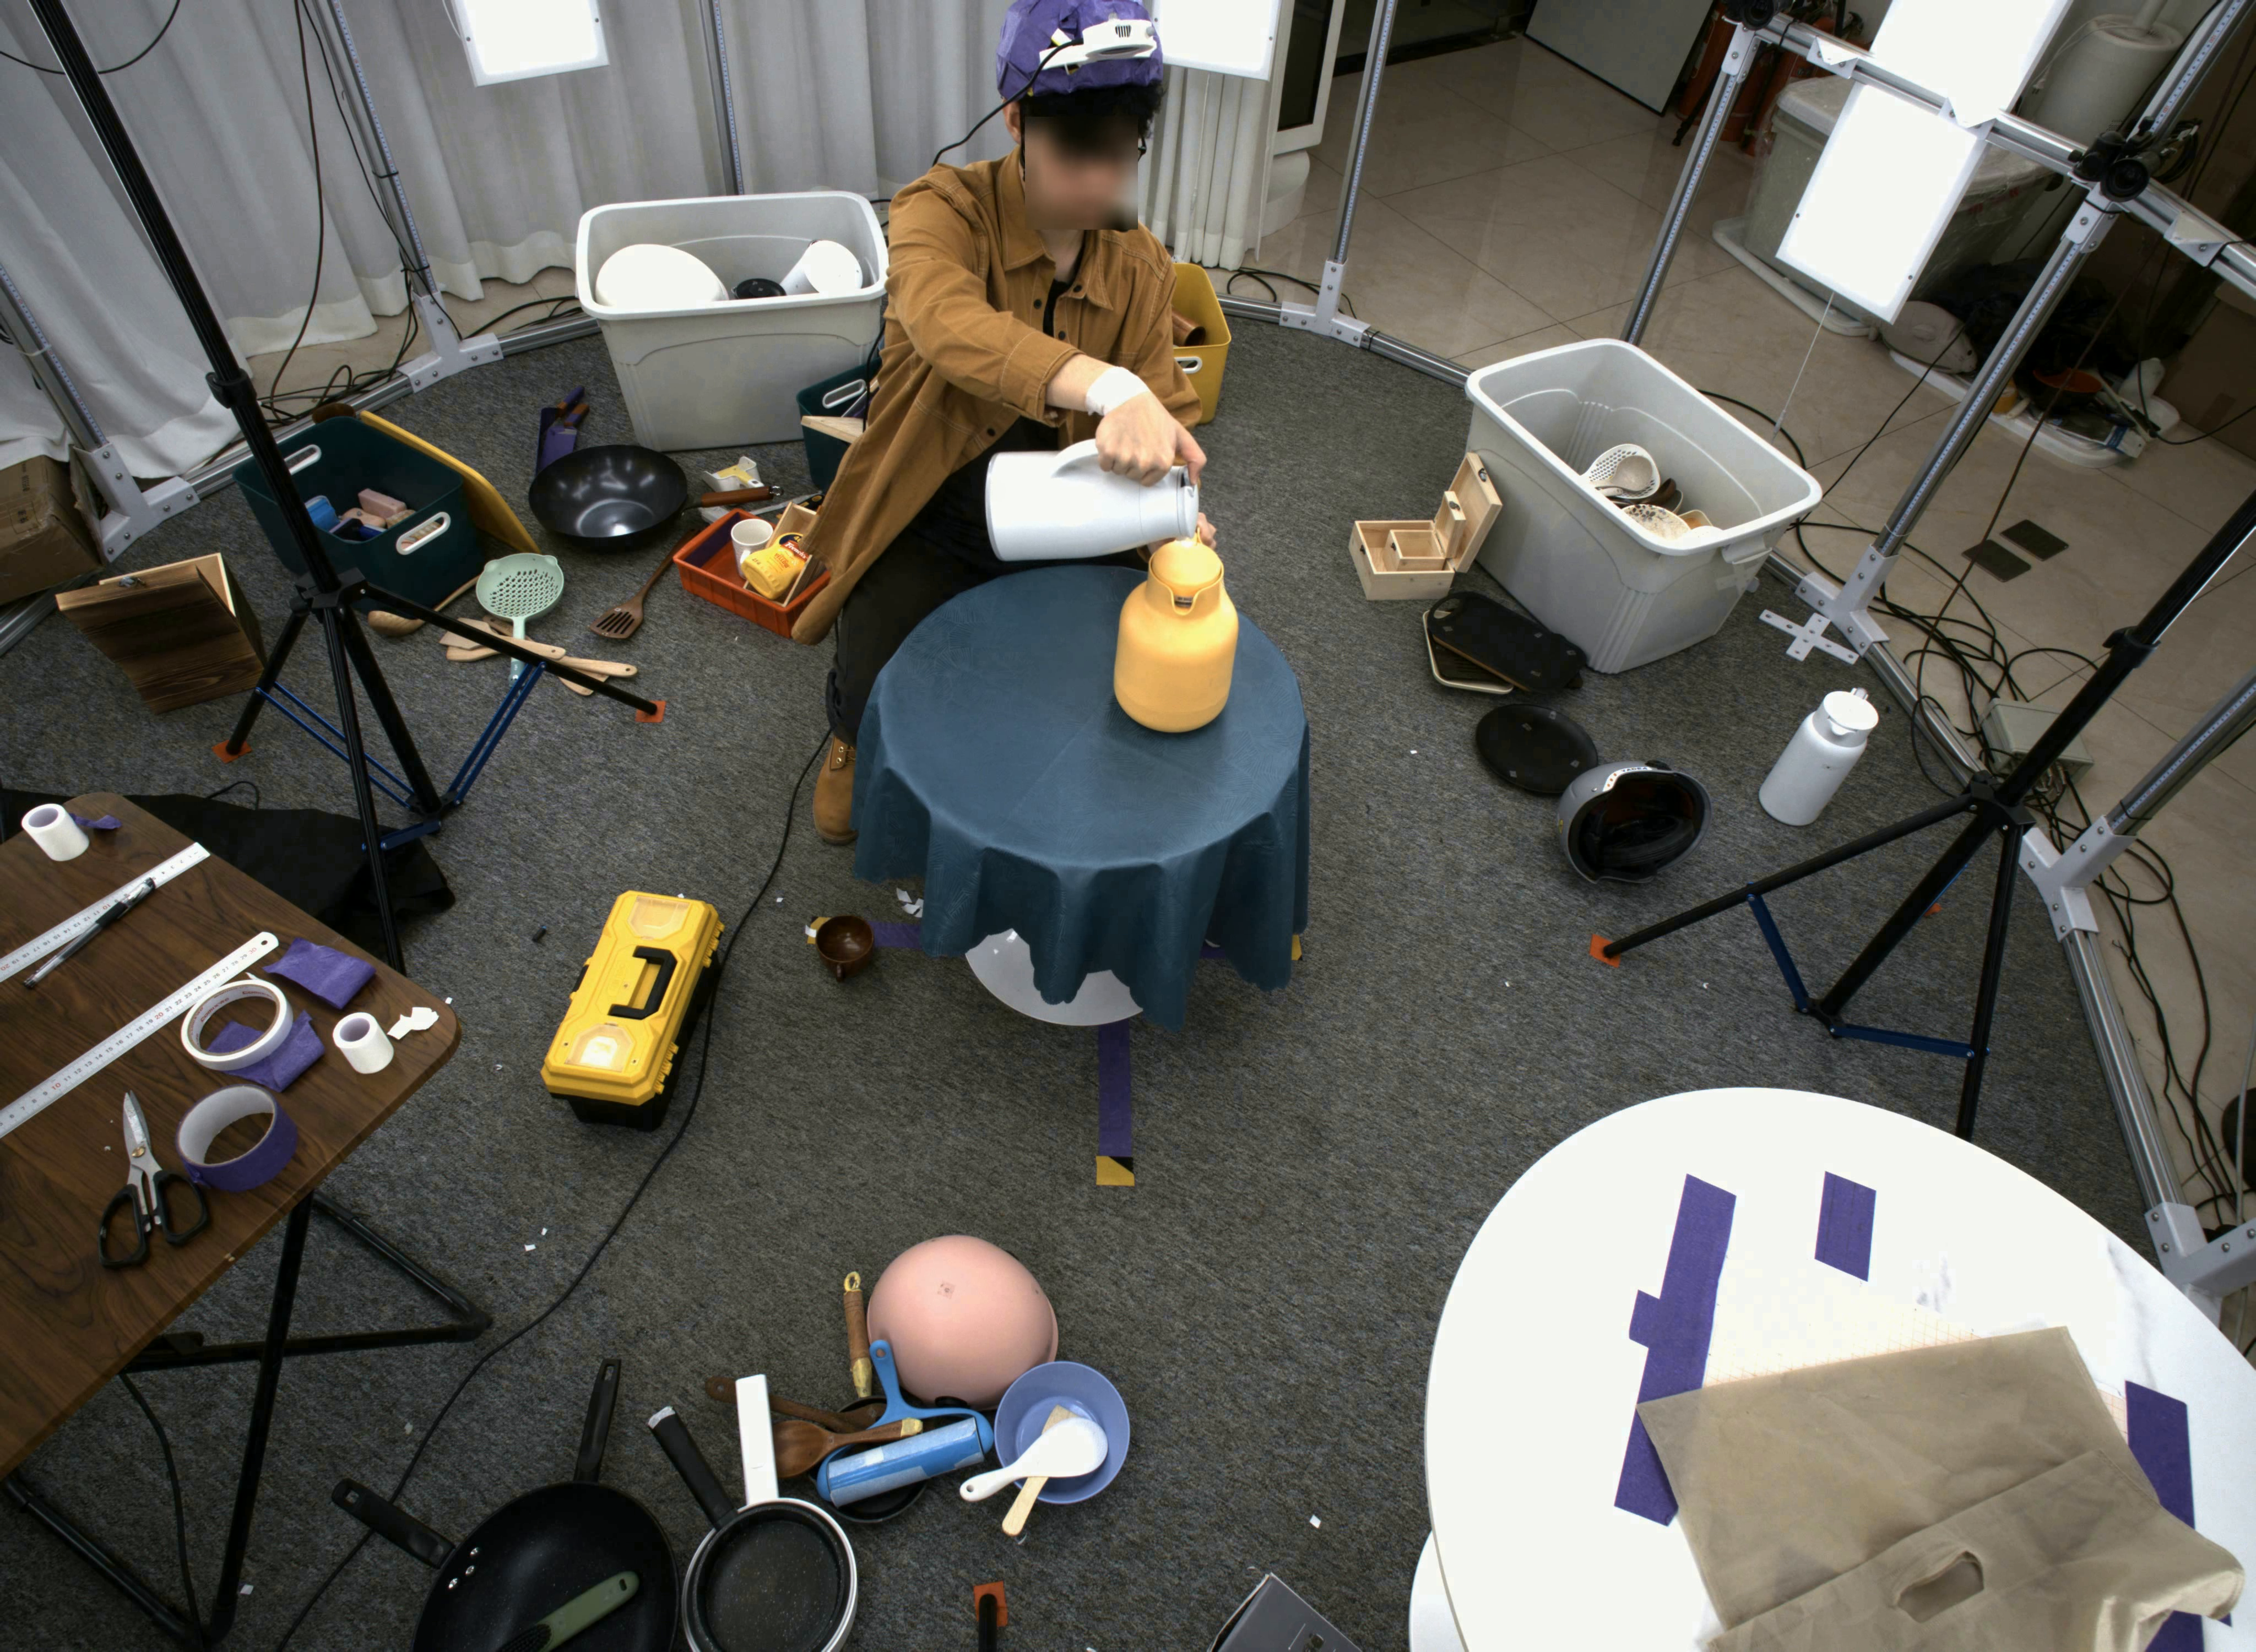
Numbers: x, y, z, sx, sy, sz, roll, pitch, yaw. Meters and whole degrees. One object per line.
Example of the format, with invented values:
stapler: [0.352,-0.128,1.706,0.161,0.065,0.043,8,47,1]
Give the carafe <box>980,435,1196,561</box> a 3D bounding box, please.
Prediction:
carafe: [-0.045,-0.400,1.549,0.249,0.164,0.135,1,62,11]

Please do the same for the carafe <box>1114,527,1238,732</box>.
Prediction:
carafe: [0.071,-0.275,1.745,0.163,0.254,0.207,9,51,2]
